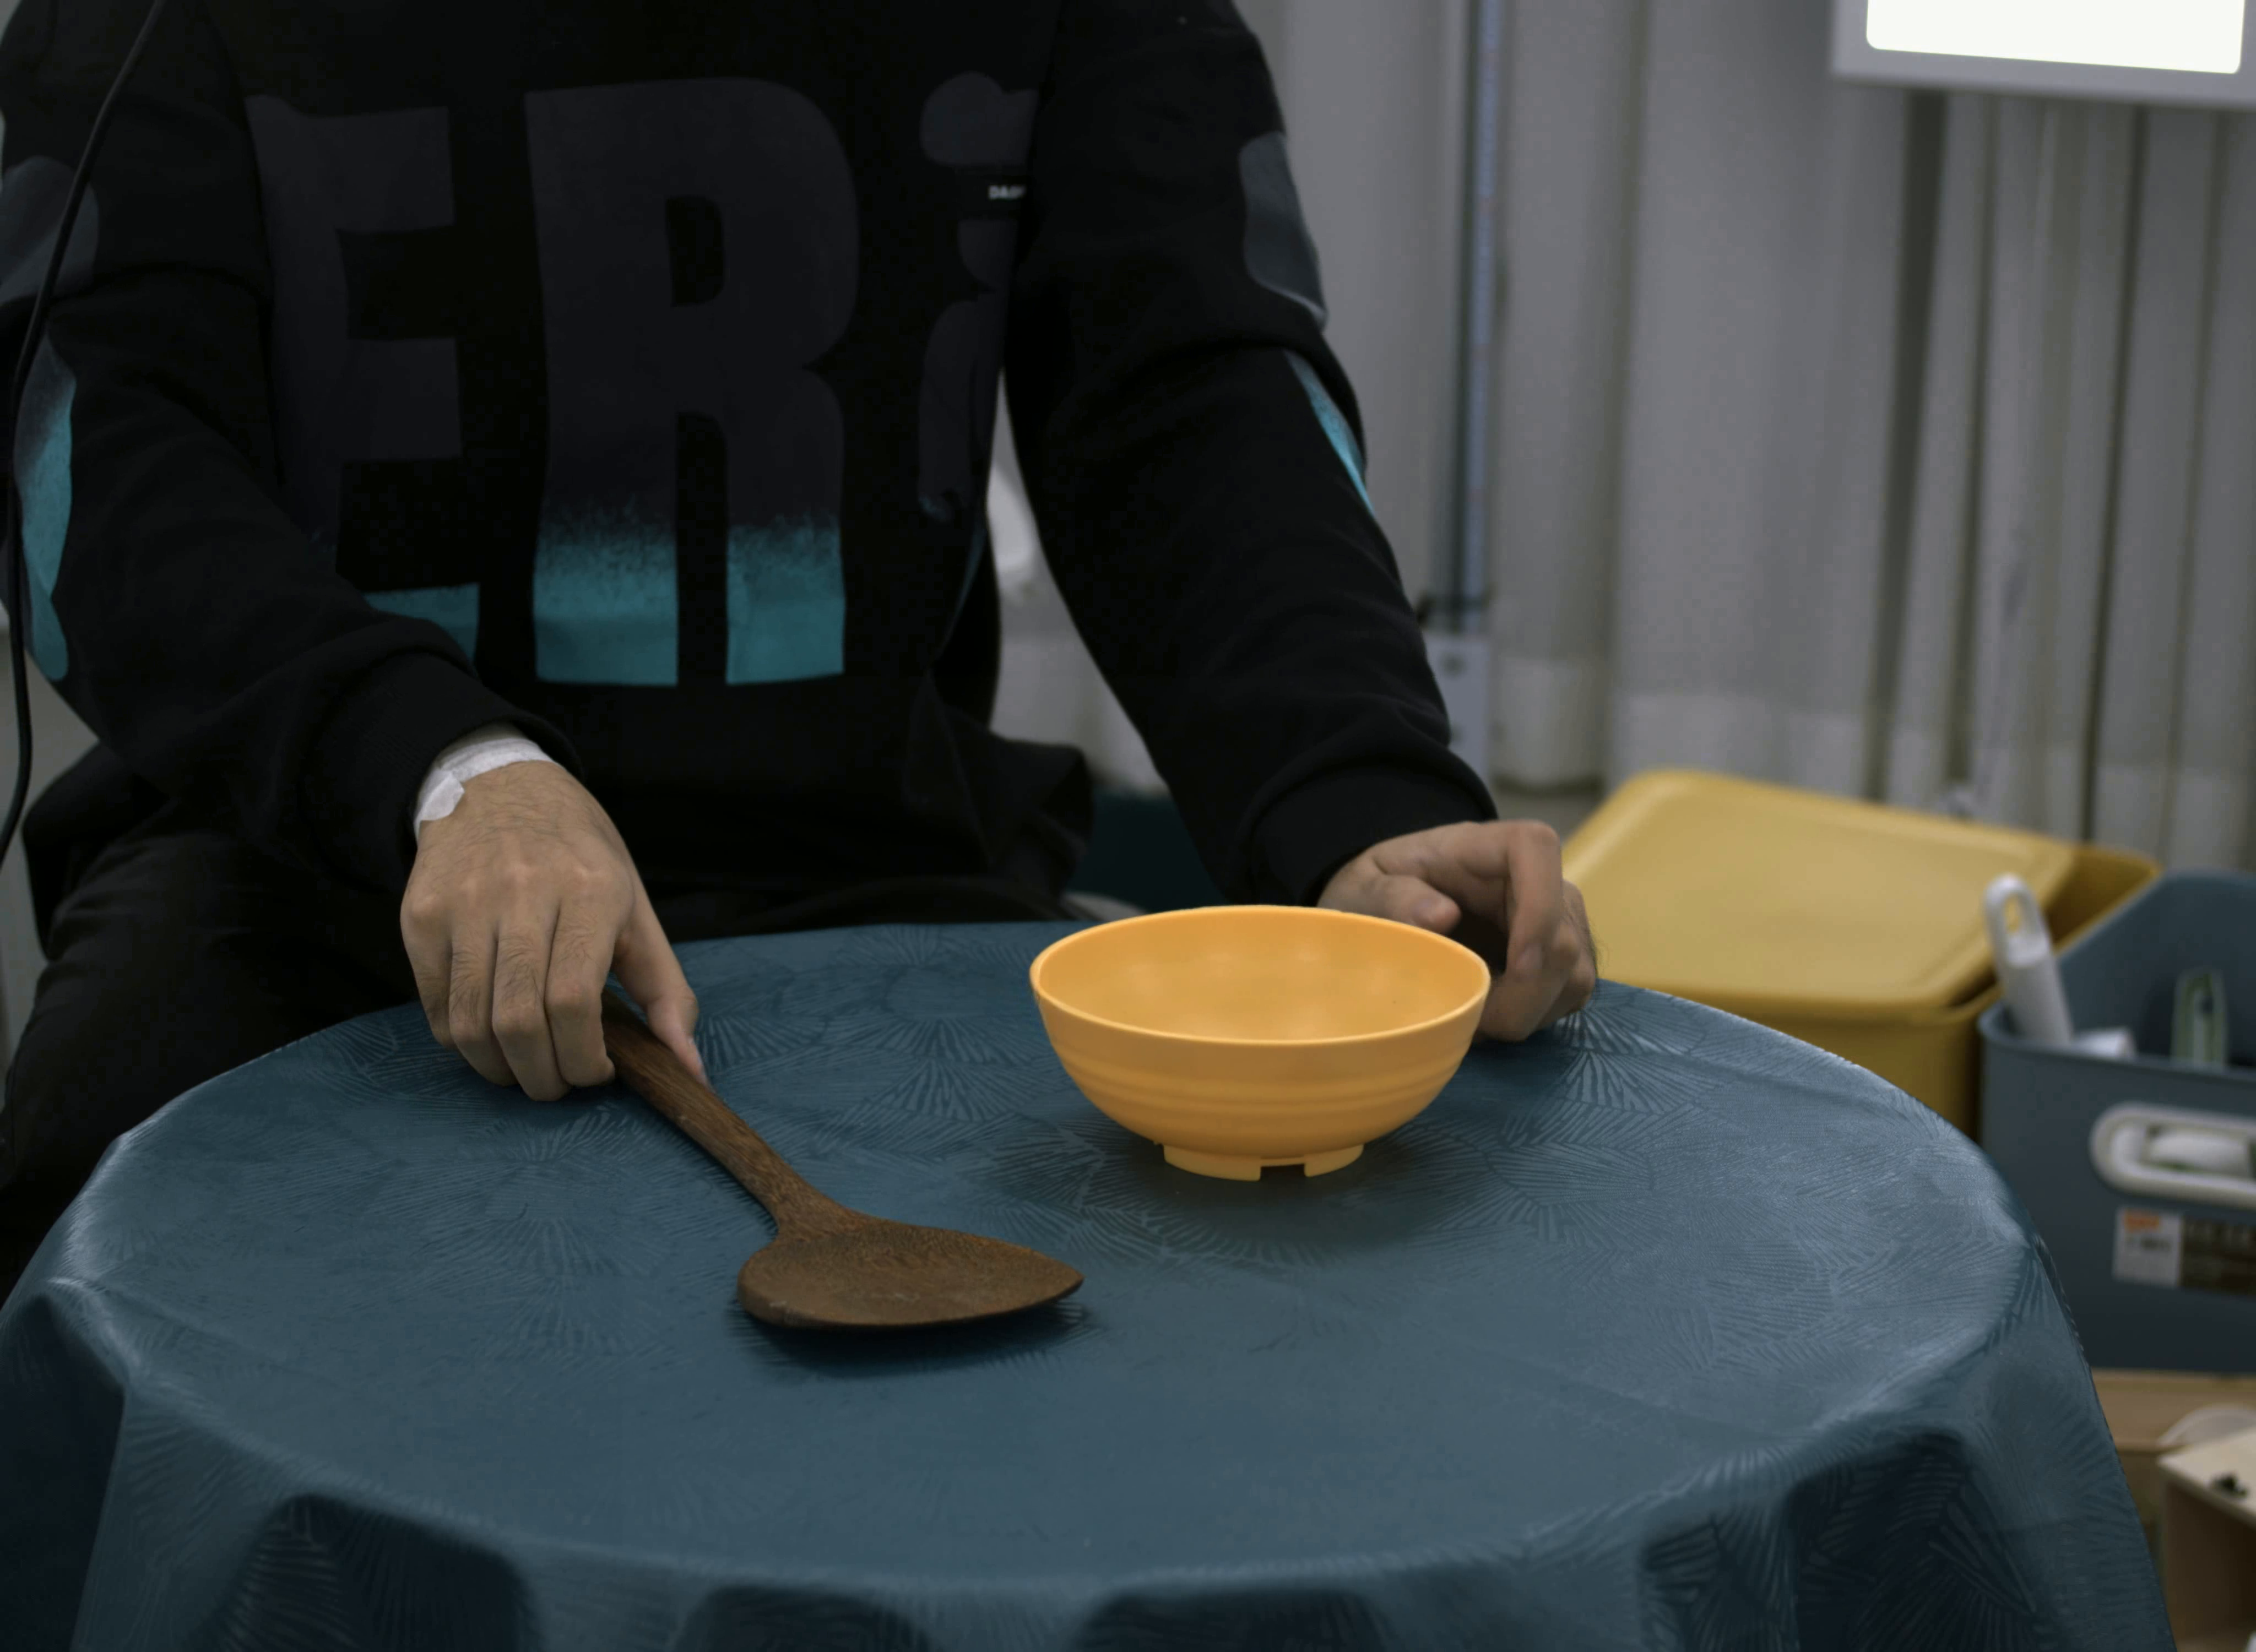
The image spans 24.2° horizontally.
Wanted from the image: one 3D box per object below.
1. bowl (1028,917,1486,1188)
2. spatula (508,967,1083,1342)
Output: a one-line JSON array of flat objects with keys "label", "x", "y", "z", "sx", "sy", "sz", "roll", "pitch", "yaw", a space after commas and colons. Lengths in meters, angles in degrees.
[{"label": "bowl", "x": 0.039, "y": 0.076, "z": 1.658, "sx": 0.145, "sy": 0.060, "sz": 0.144, "roll": 3, "pitch": 14, "yaw": 0}, {"label": "spatula", "x": -0.127, "y": 0.097, "z": 1.651, "sx": 0.096, "sy": 0.016, "sz": 0.381, "roll": -6, "pitch": 17, "yaw": -24}]
